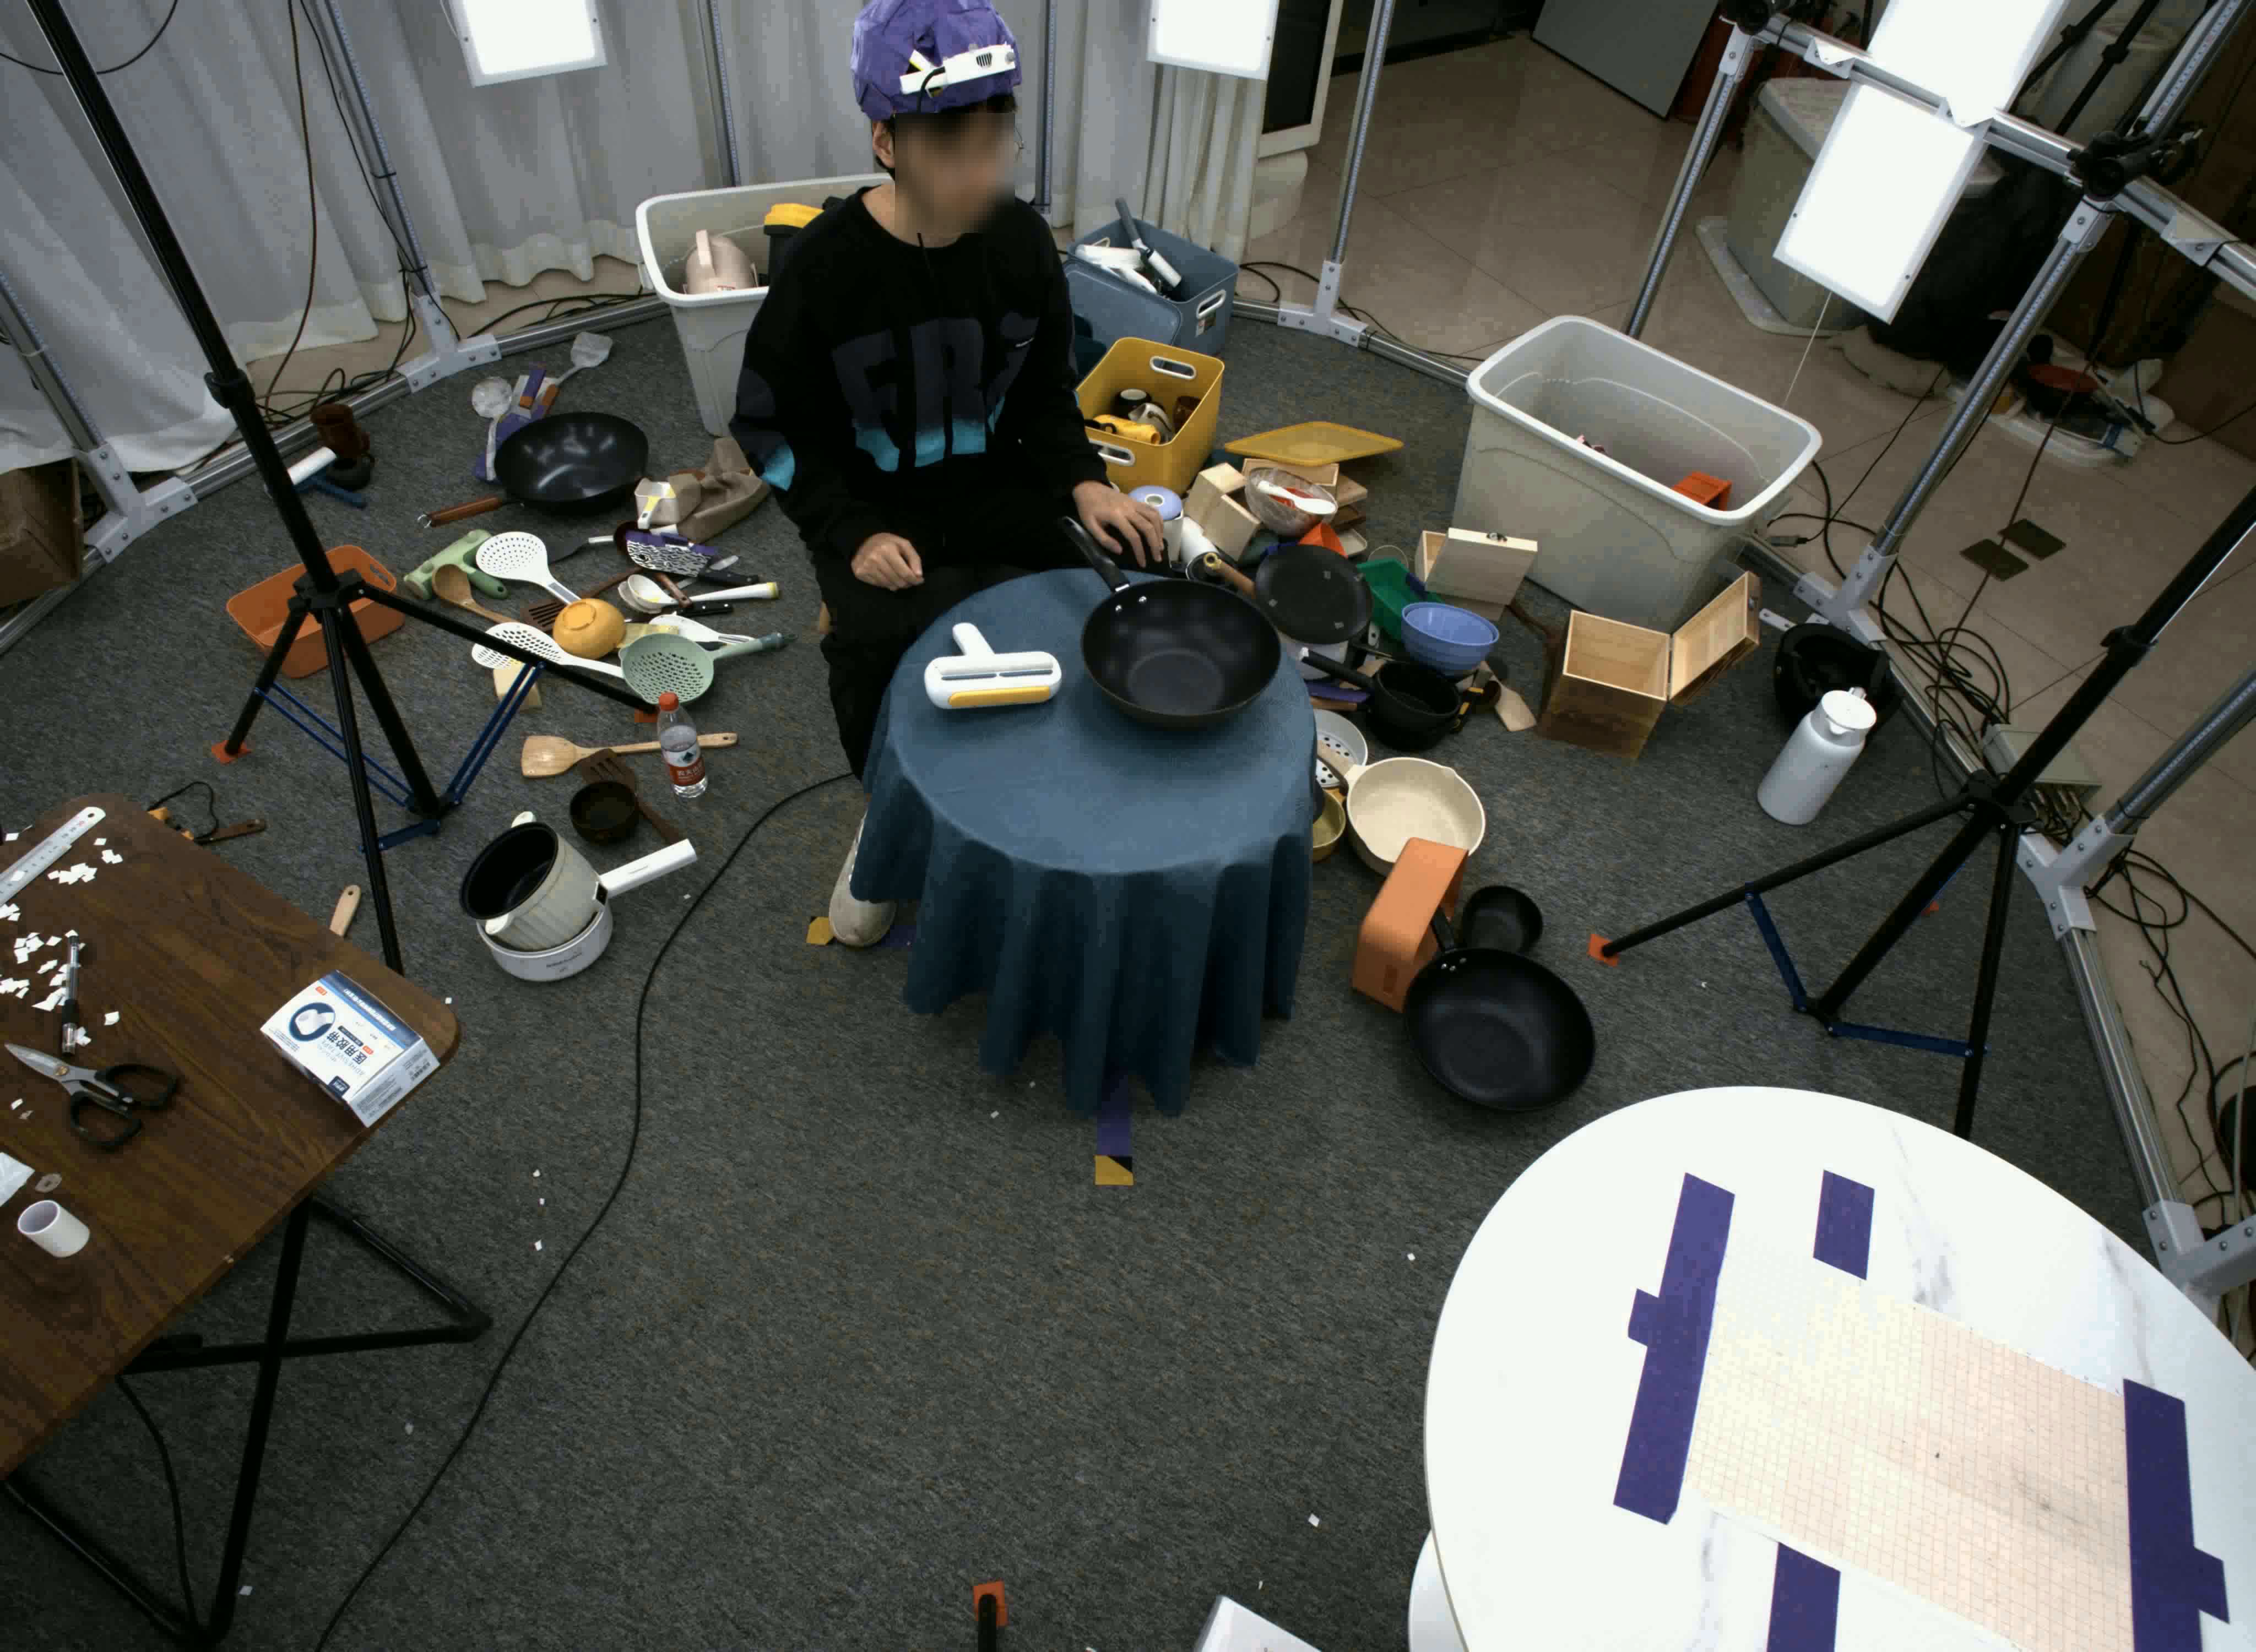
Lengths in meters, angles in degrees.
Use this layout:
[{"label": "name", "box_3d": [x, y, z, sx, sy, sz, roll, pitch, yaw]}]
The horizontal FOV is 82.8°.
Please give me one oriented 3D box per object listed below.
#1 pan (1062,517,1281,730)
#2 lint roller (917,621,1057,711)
[{"label": "pan", "box_3d": [0.022, -0.290, 1.867, 0.289, 0.085, 0.473, -24, 54, -22]}, {"label": "lint roller", "box_3d": [-0.209, -0.239, 1.818, 0.192, 0.072, 0.197, -7, 48, -16]}]
